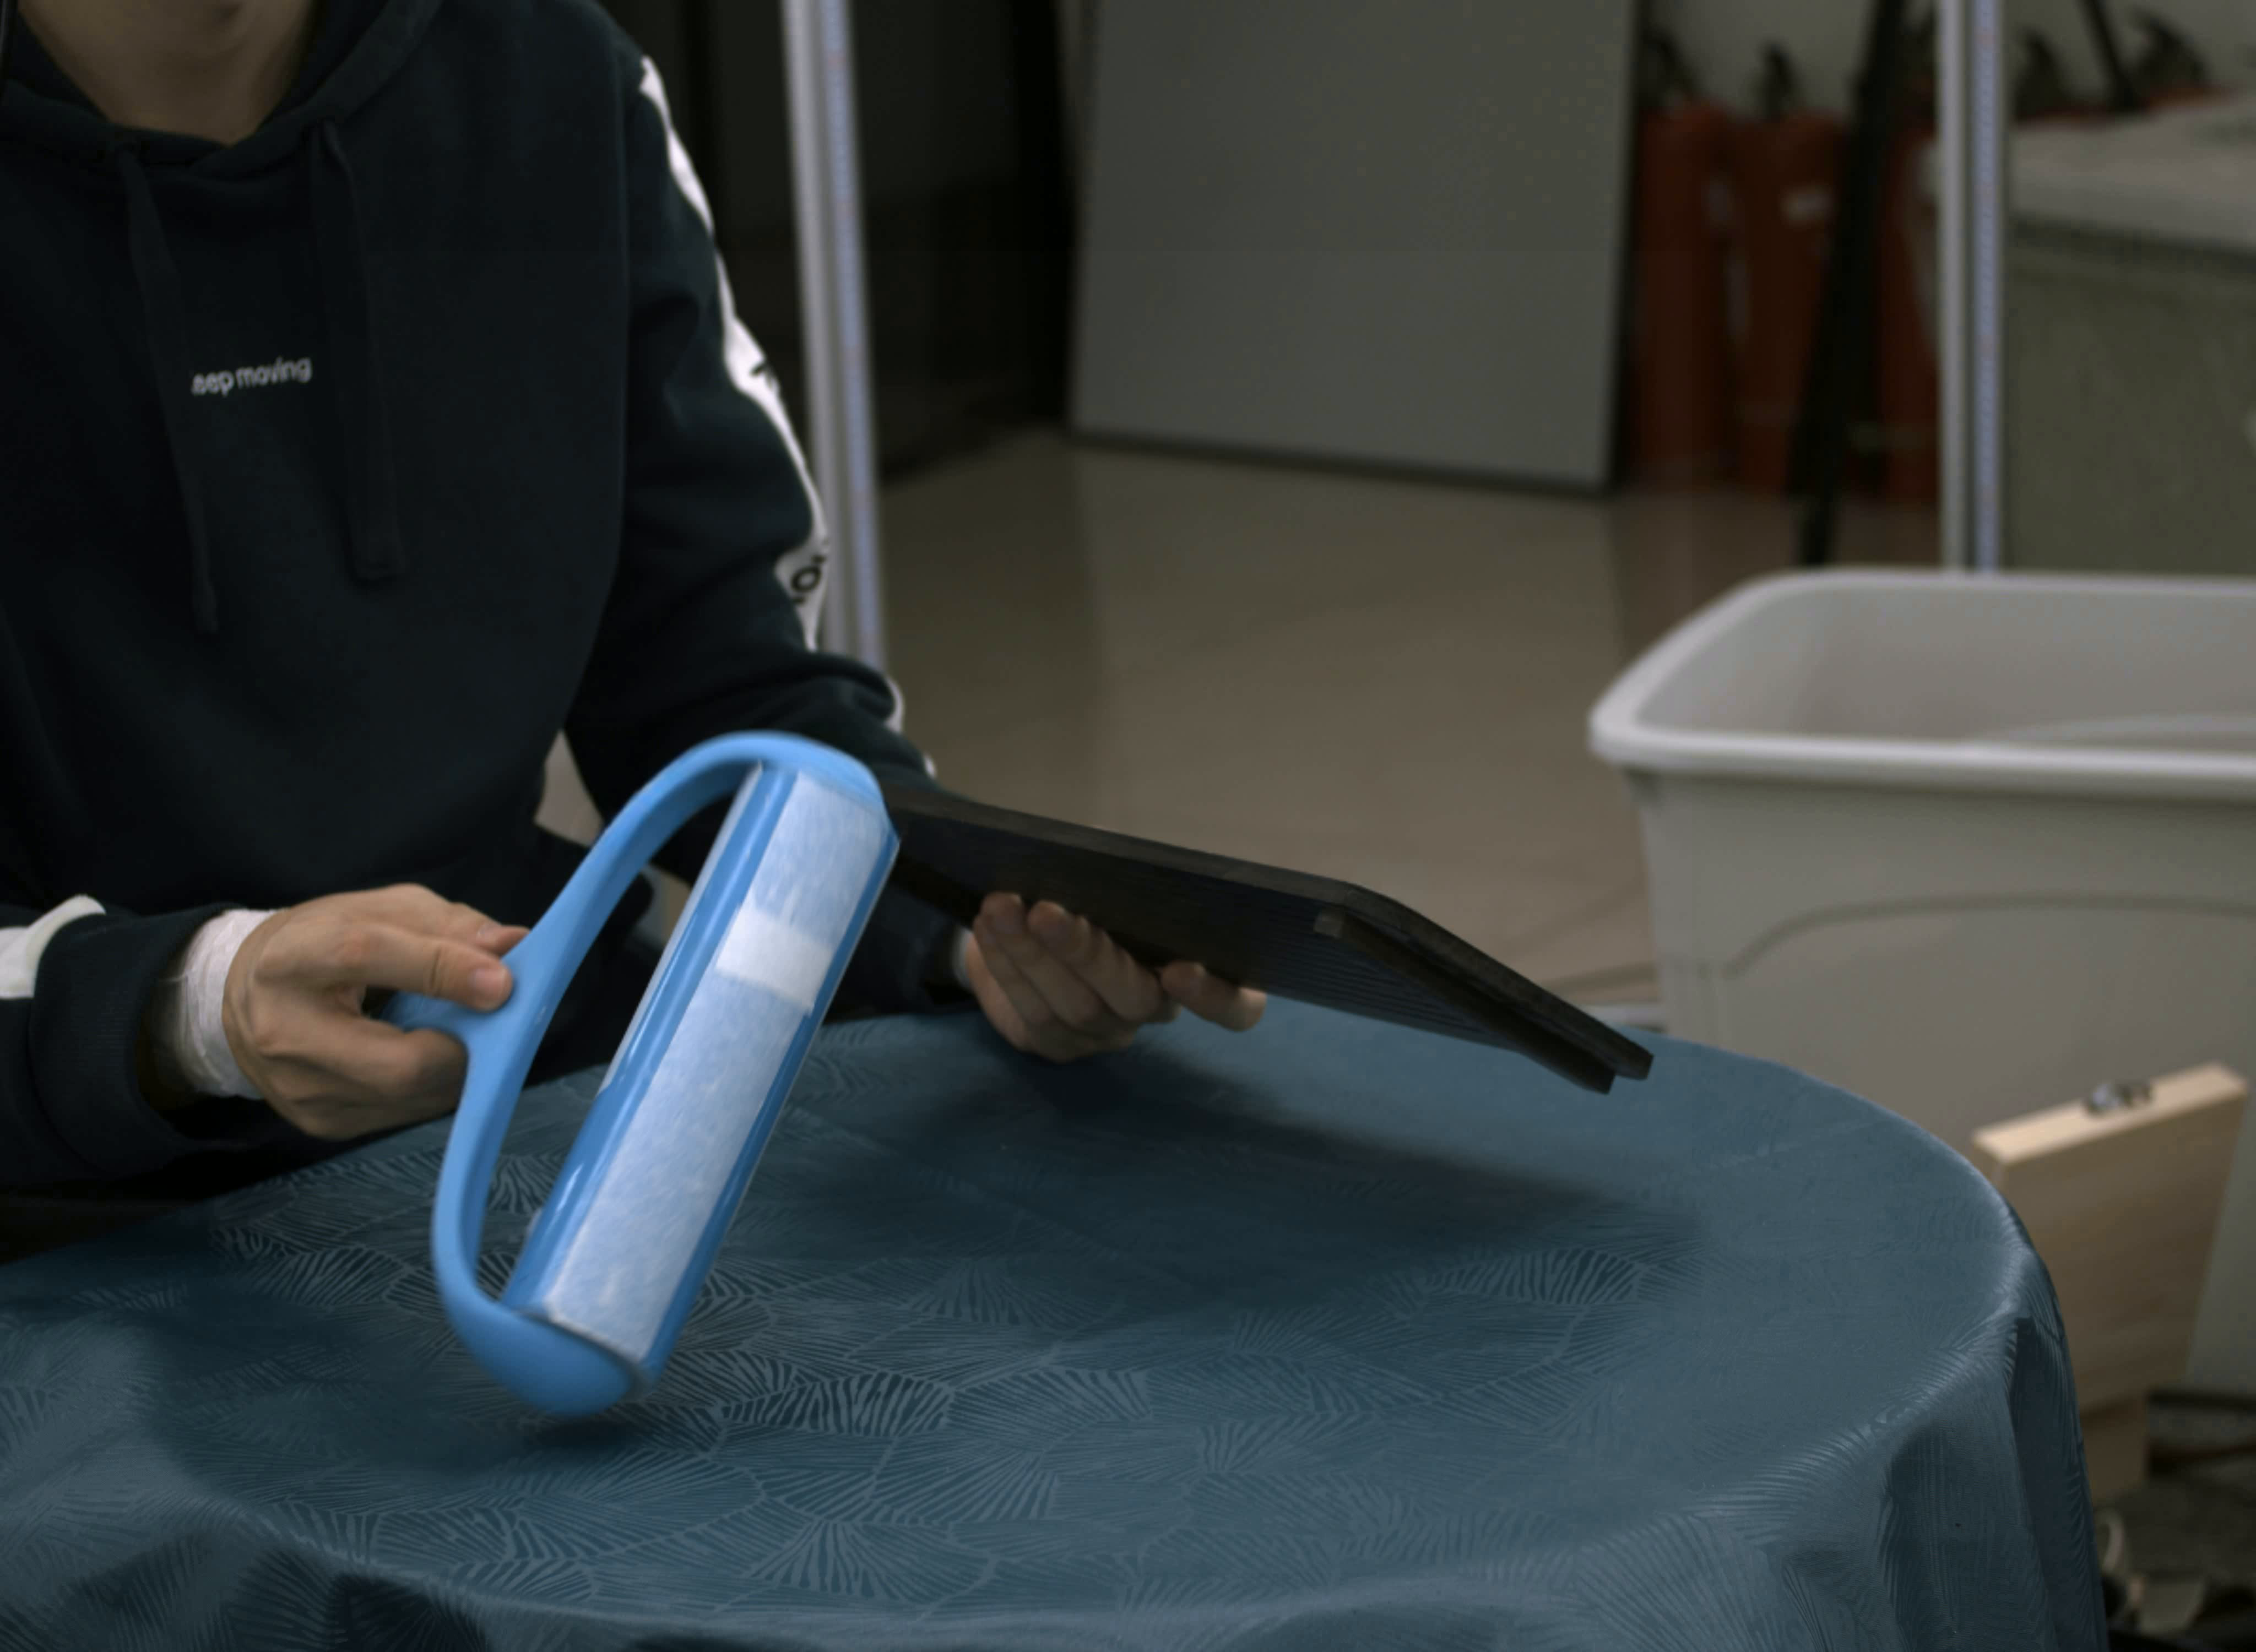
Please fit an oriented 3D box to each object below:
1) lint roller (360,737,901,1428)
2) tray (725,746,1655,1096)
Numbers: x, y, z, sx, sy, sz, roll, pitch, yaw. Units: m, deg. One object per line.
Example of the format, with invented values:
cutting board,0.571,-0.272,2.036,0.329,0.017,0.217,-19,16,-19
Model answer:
lint roller,-0.178,0.073,1.646,0.181,0.067,0.230,2,58,34
tray,0.014,0.032,1.773,0.309,0.019,0.167,11,-14,44
